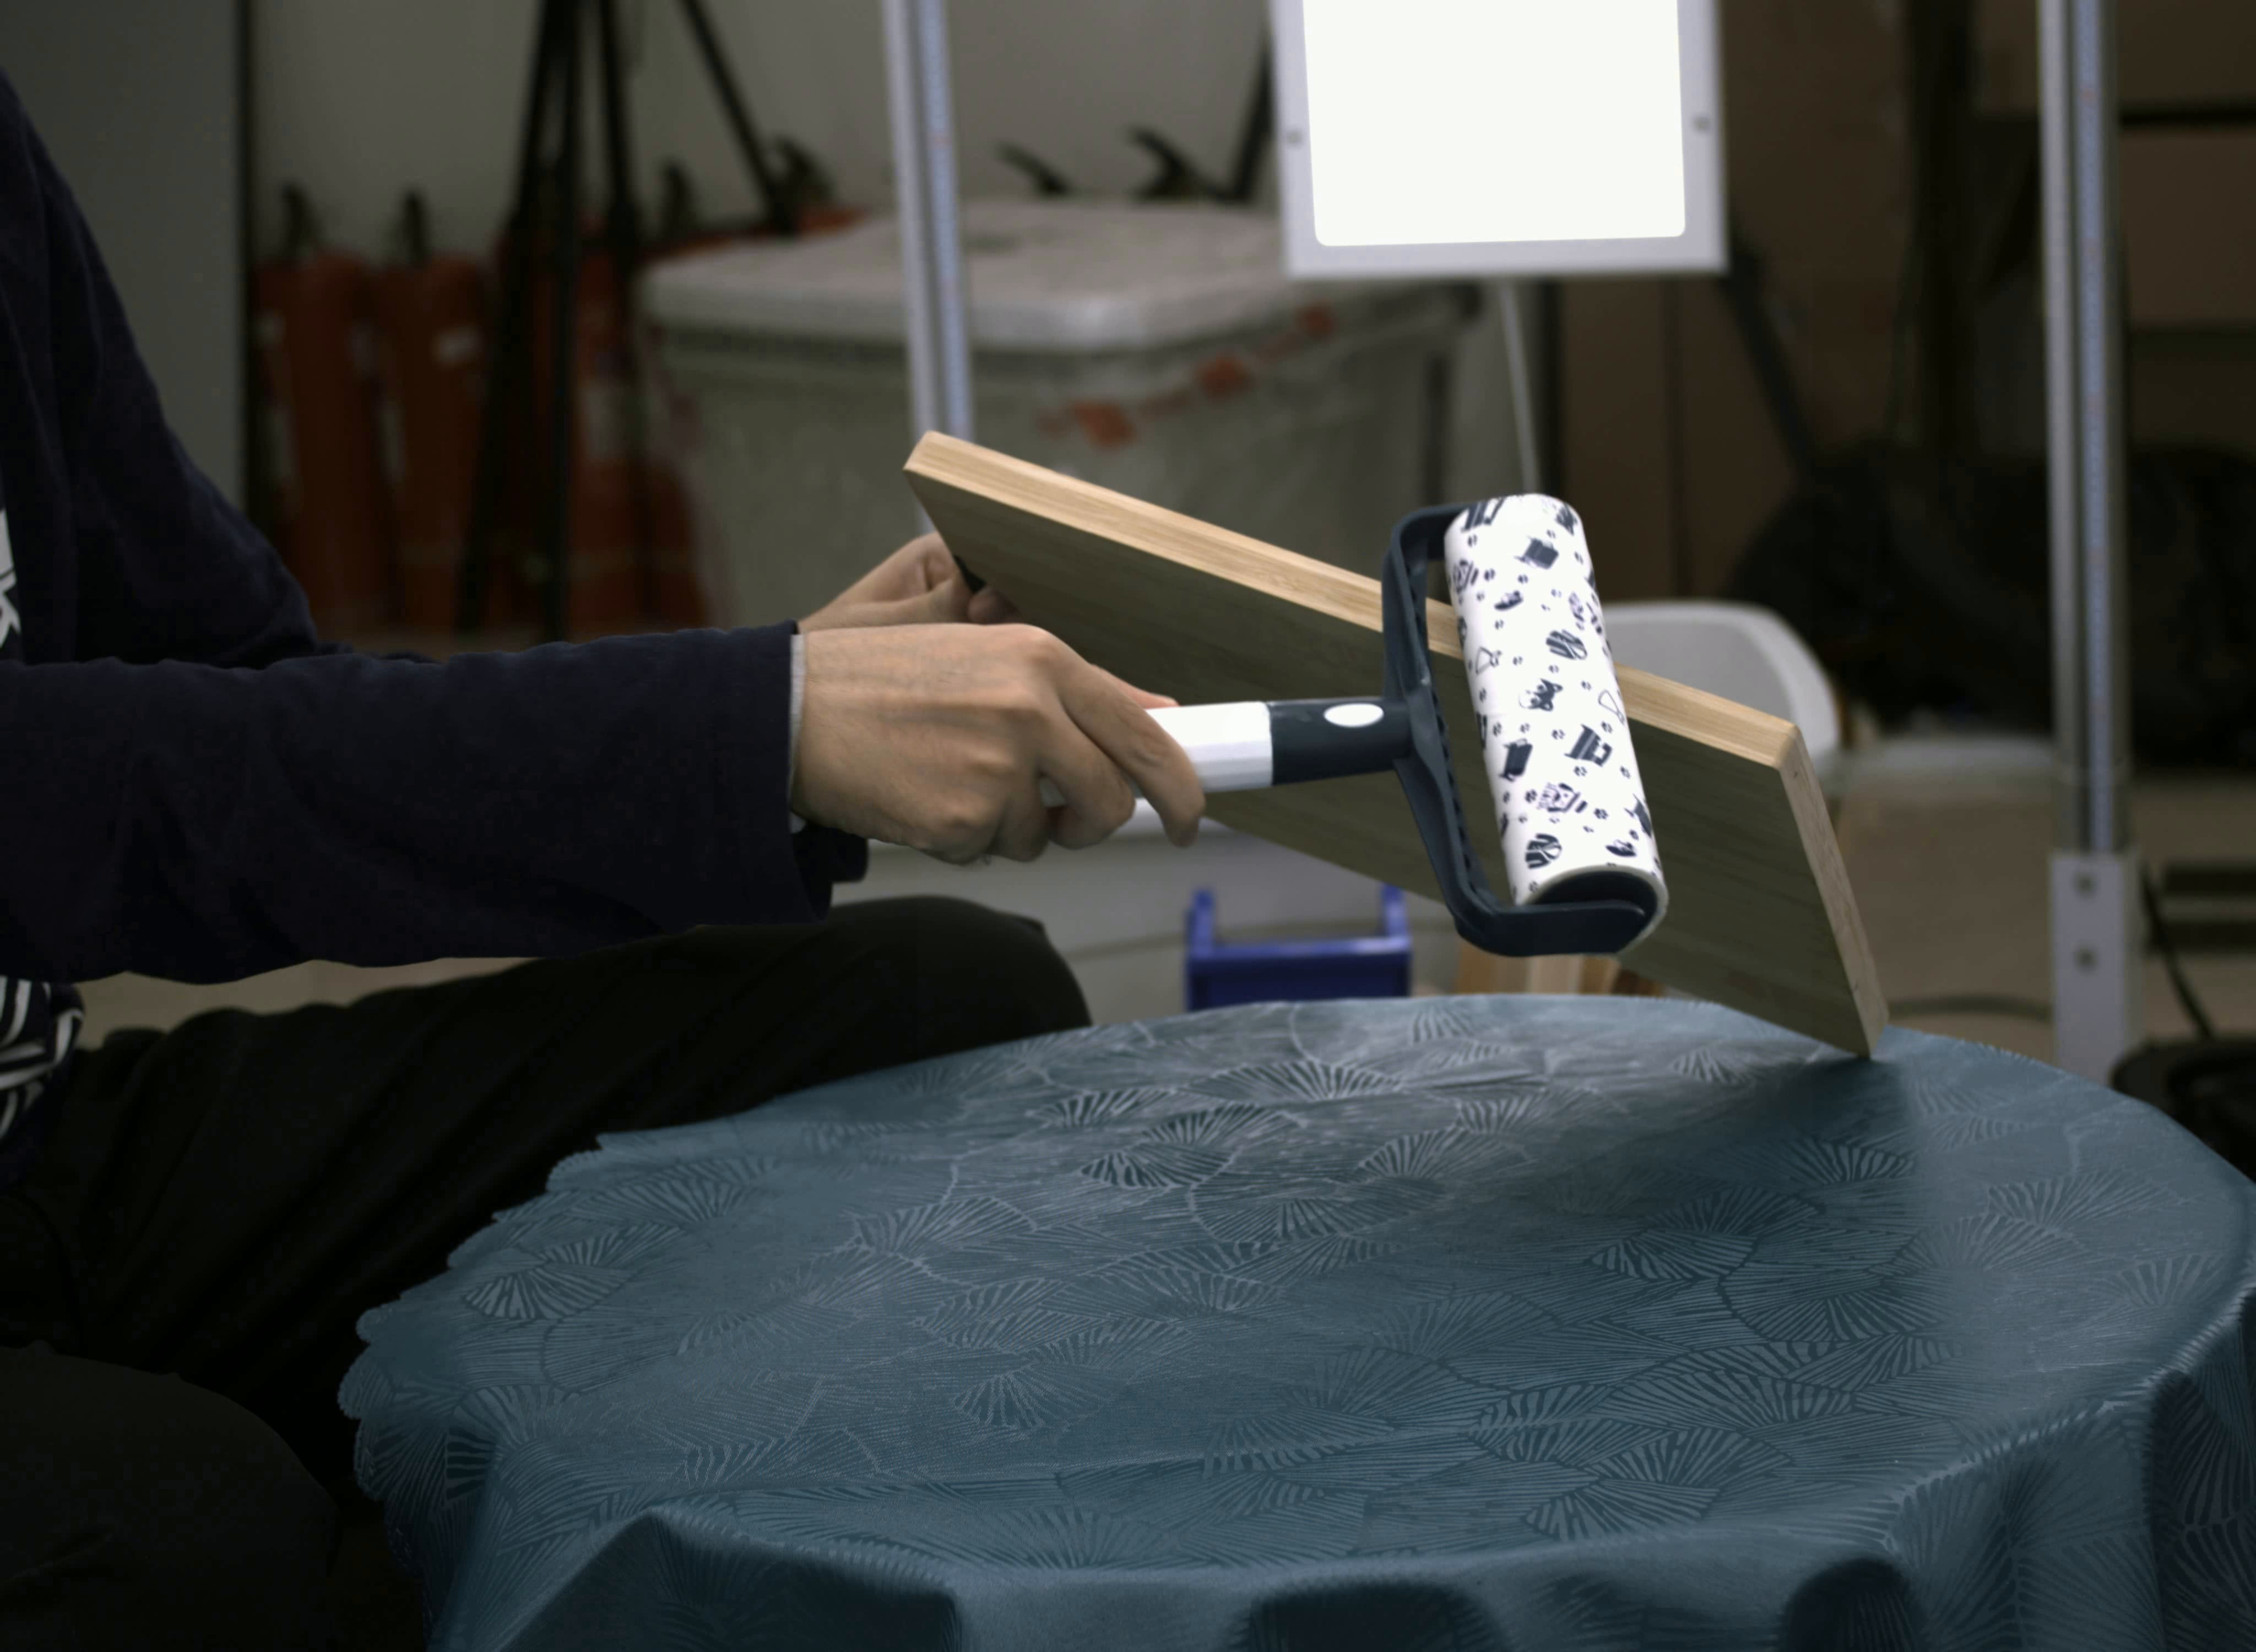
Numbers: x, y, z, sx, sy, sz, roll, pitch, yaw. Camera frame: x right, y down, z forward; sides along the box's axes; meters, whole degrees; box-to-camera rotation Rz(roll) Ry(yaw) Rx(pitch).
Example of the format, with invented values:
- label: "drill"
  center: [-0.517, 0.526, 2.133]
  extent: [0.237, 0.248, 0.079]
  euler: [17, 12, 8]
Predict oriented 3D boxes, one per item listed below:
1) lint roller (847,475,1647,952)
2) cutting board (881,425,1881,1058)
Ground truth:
- label: "lint roller"
  center: [0.033, -0.028, 1.755]
  extent: [0.246, 0.050, 0.176]
  euler: [-6, 52, -2]
- label: "cutting board"
  center: [0.093, -0.029, 1.958]
  extent: [0.353, 0.023, 0.249]
  euler: [20, -19, 25]
